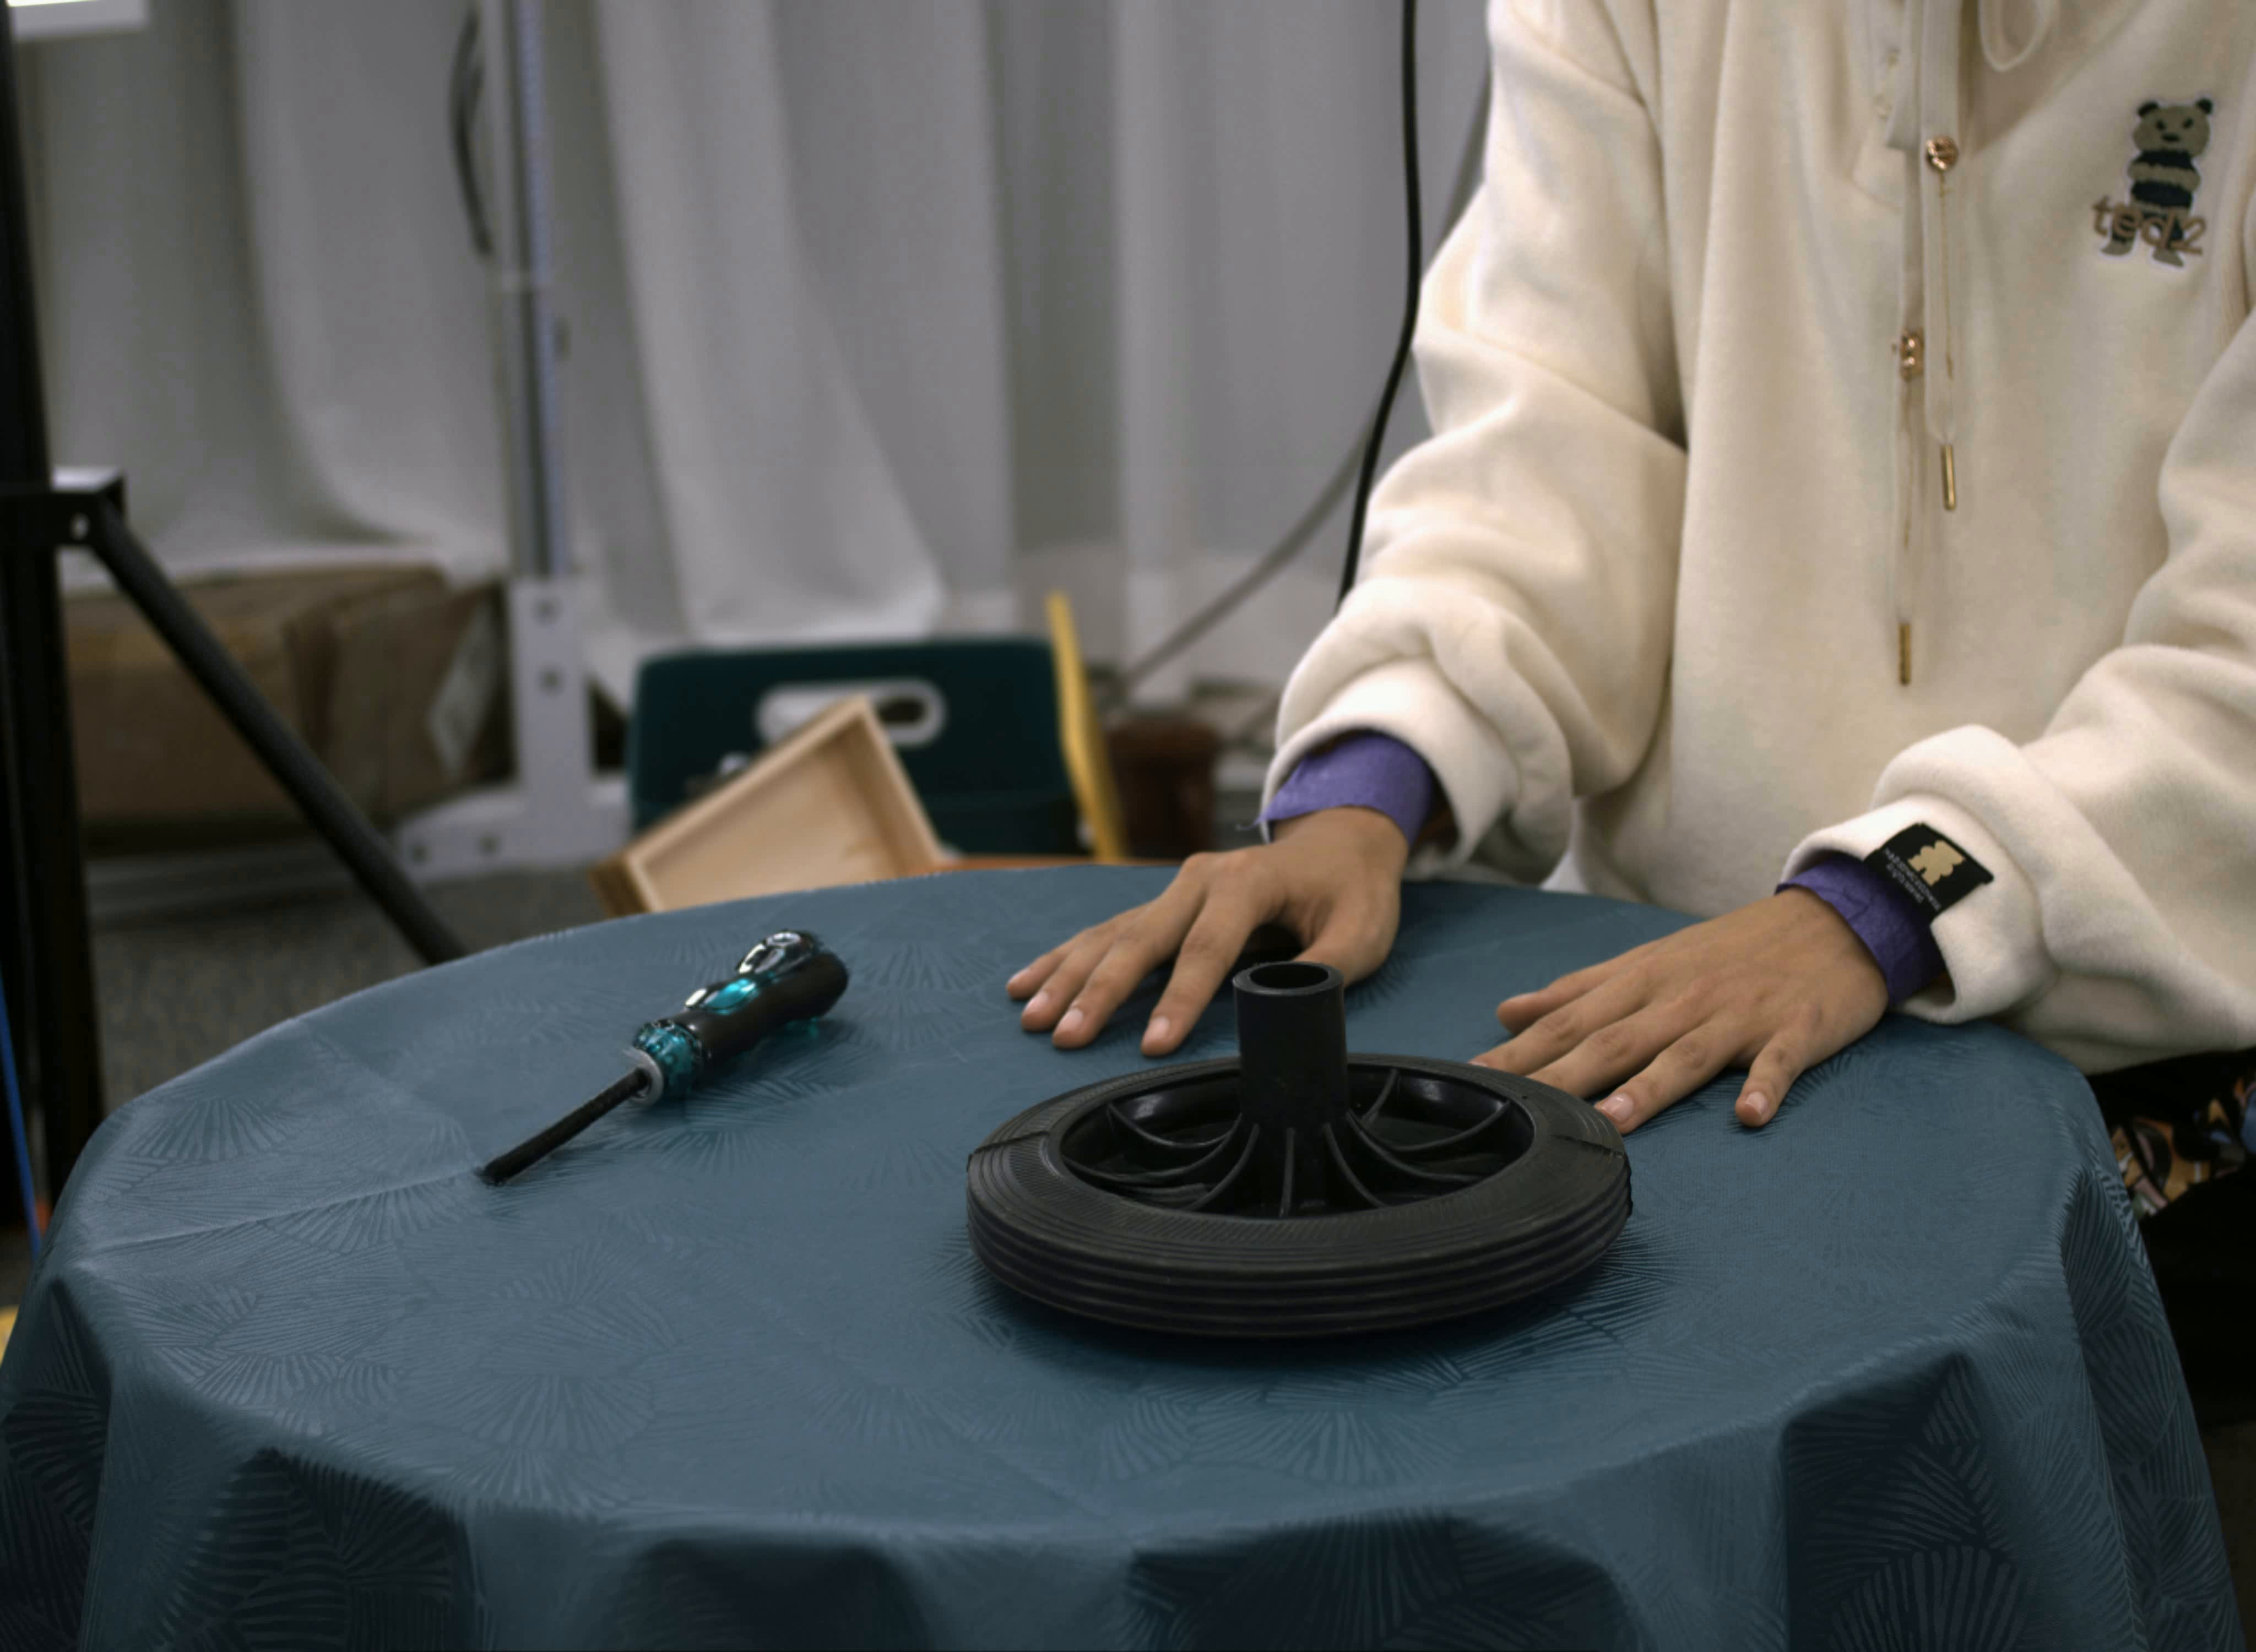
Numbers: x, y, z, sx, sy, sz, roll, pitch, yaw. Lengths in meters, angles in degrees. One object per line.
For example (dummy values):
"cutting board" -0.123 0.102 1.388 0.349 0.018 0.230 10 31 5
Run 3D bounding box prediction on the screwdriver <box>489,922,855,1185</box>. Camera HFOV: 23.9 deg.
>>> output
"screwdriver" -0.144 0.074 1.663 0.034 0.033 0.187 7 24 29

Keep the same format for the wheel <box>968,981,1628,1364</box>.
"wheel" 0.046 0.086 1.490 0.191 0.079 0.186 12 24 43
